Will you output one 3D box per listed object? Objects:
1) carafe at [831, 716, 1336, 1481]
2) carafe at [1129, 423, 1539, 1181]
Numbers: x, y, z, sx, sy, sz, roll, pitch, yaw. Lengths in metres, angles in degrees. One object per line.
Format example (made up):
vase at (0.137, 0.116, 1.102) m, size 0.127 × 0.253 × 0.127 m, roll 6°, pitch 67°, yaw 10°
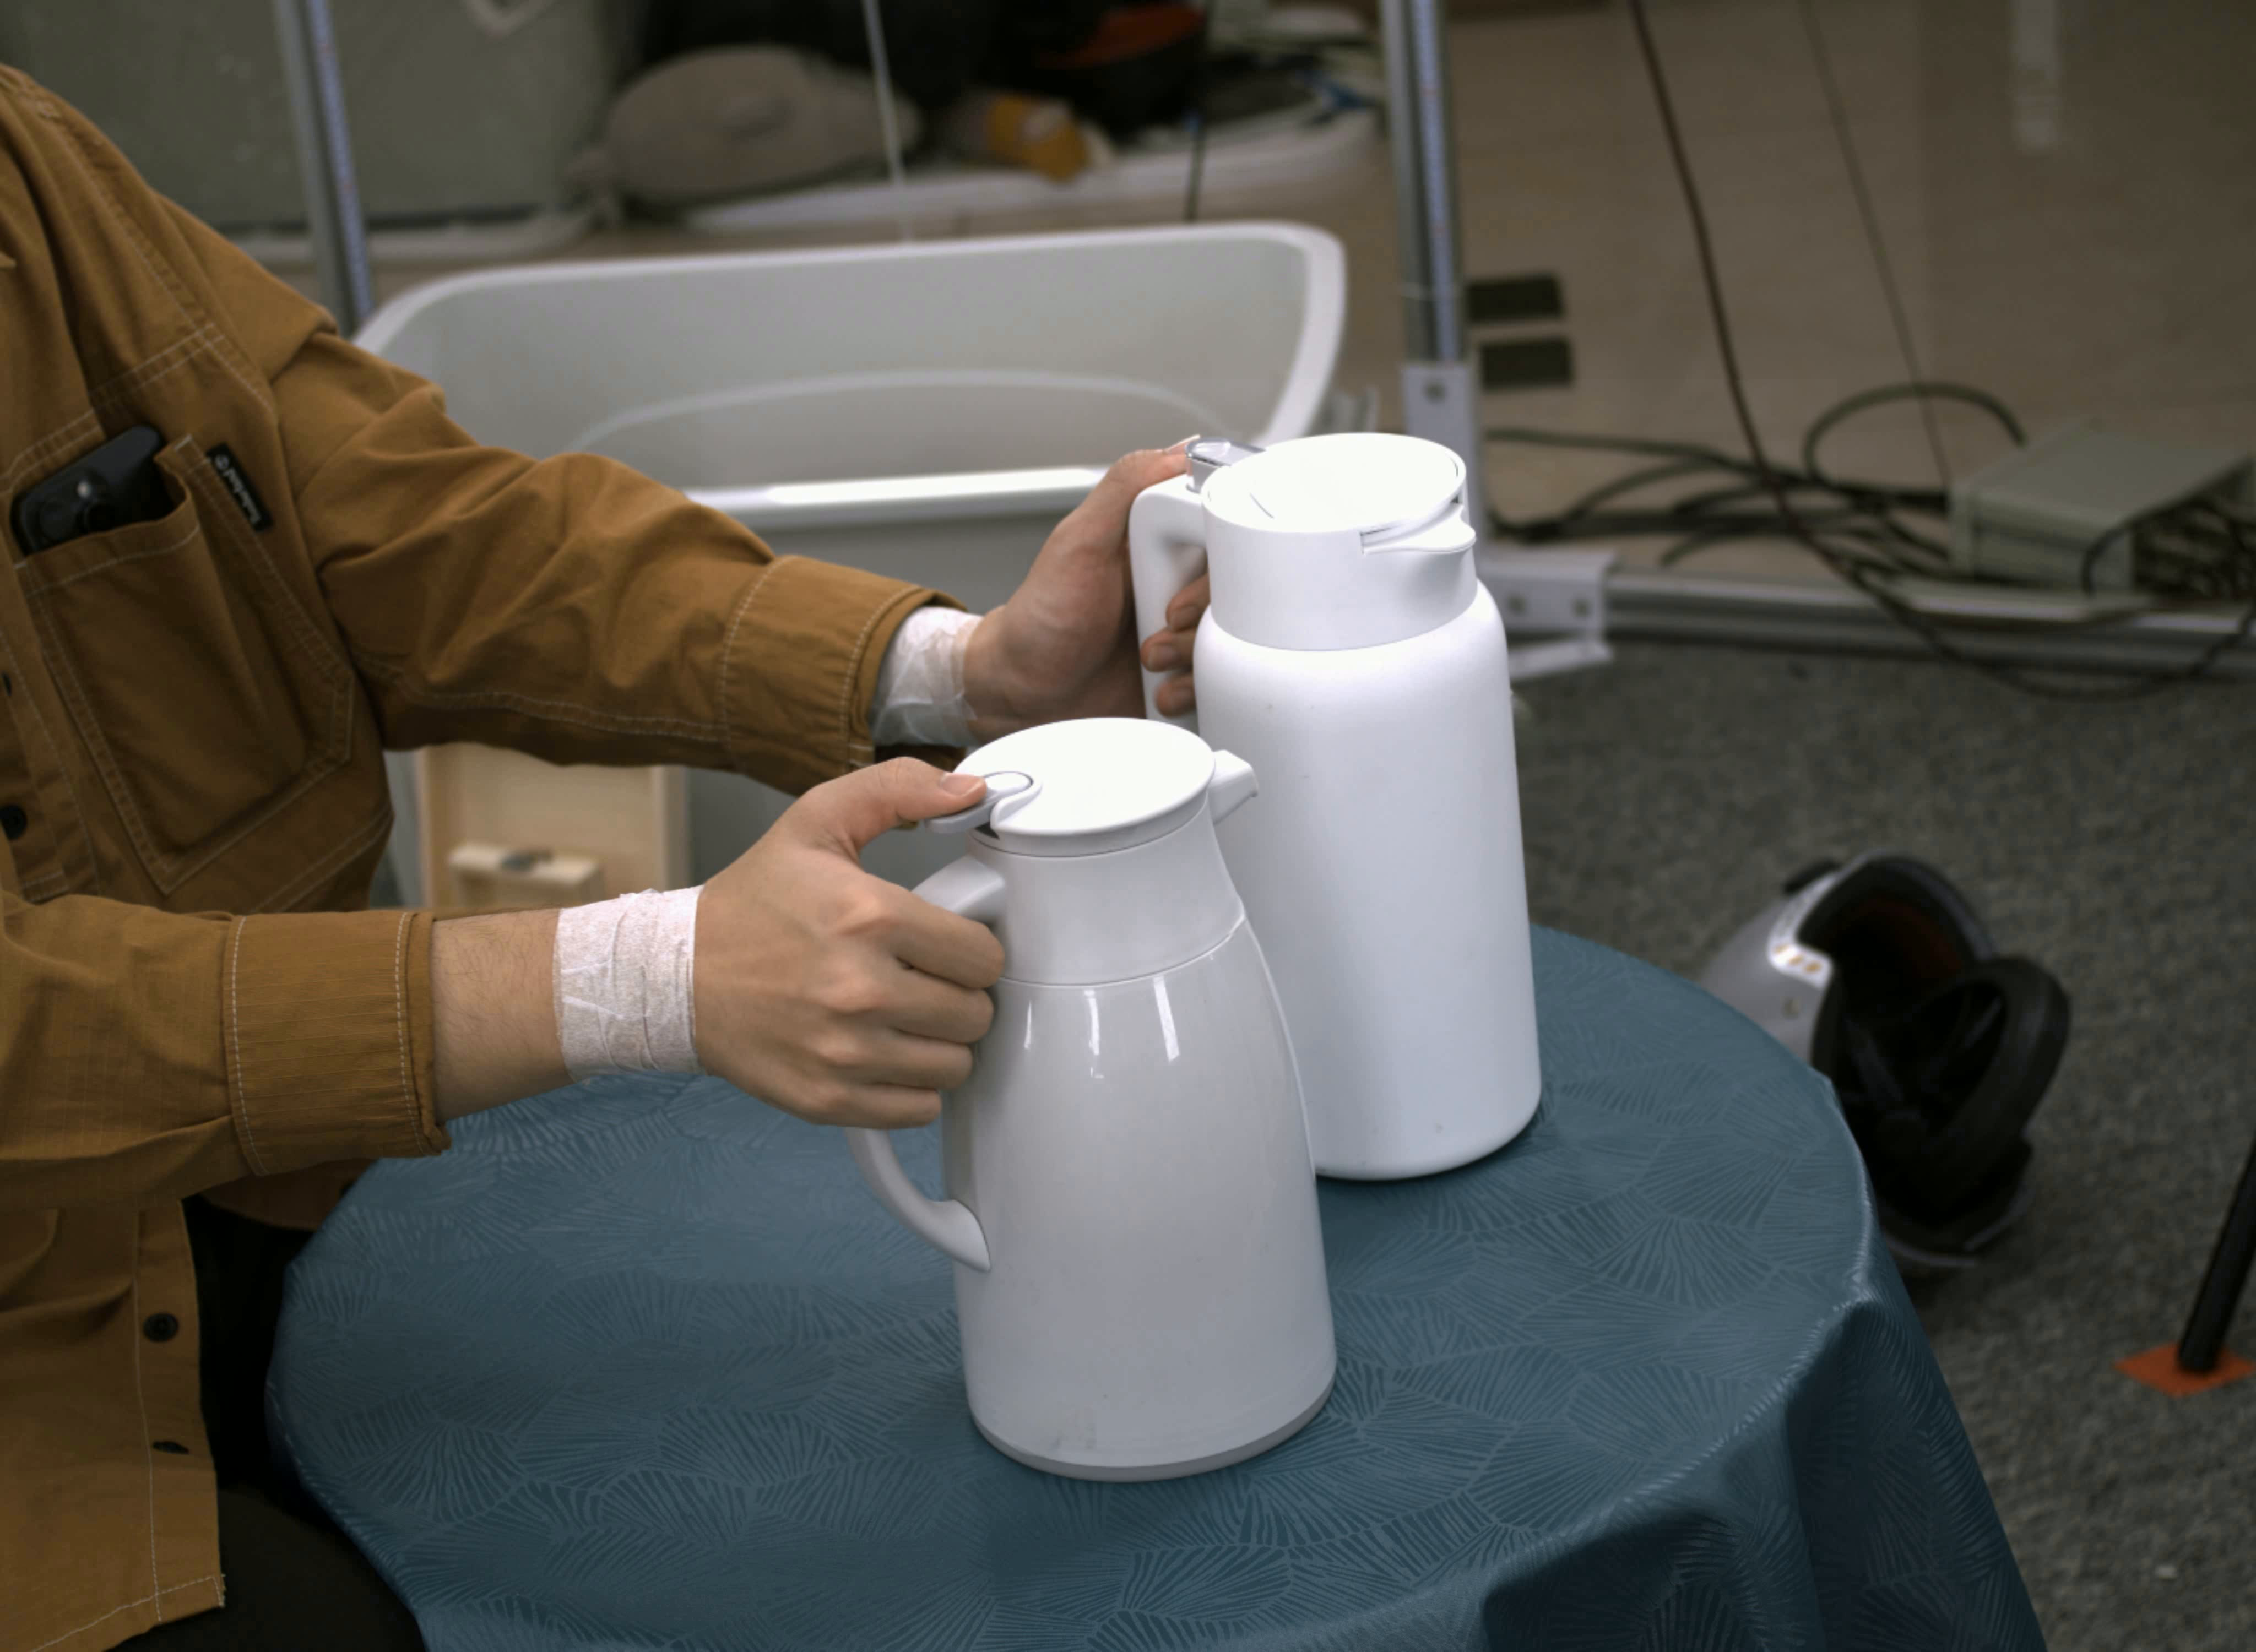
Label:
carafe at (-0.020, 0.093, 1.954) m, size 0.167 × 0.252 × 0.131 m, roll -20°, pitch 29°, yaw -25°
carafe at (0.075, -0.011, 2.133) m, size 0.123 × 0.273 × 0.171 m, roll -29°, pitch 34°, yaw -35°
